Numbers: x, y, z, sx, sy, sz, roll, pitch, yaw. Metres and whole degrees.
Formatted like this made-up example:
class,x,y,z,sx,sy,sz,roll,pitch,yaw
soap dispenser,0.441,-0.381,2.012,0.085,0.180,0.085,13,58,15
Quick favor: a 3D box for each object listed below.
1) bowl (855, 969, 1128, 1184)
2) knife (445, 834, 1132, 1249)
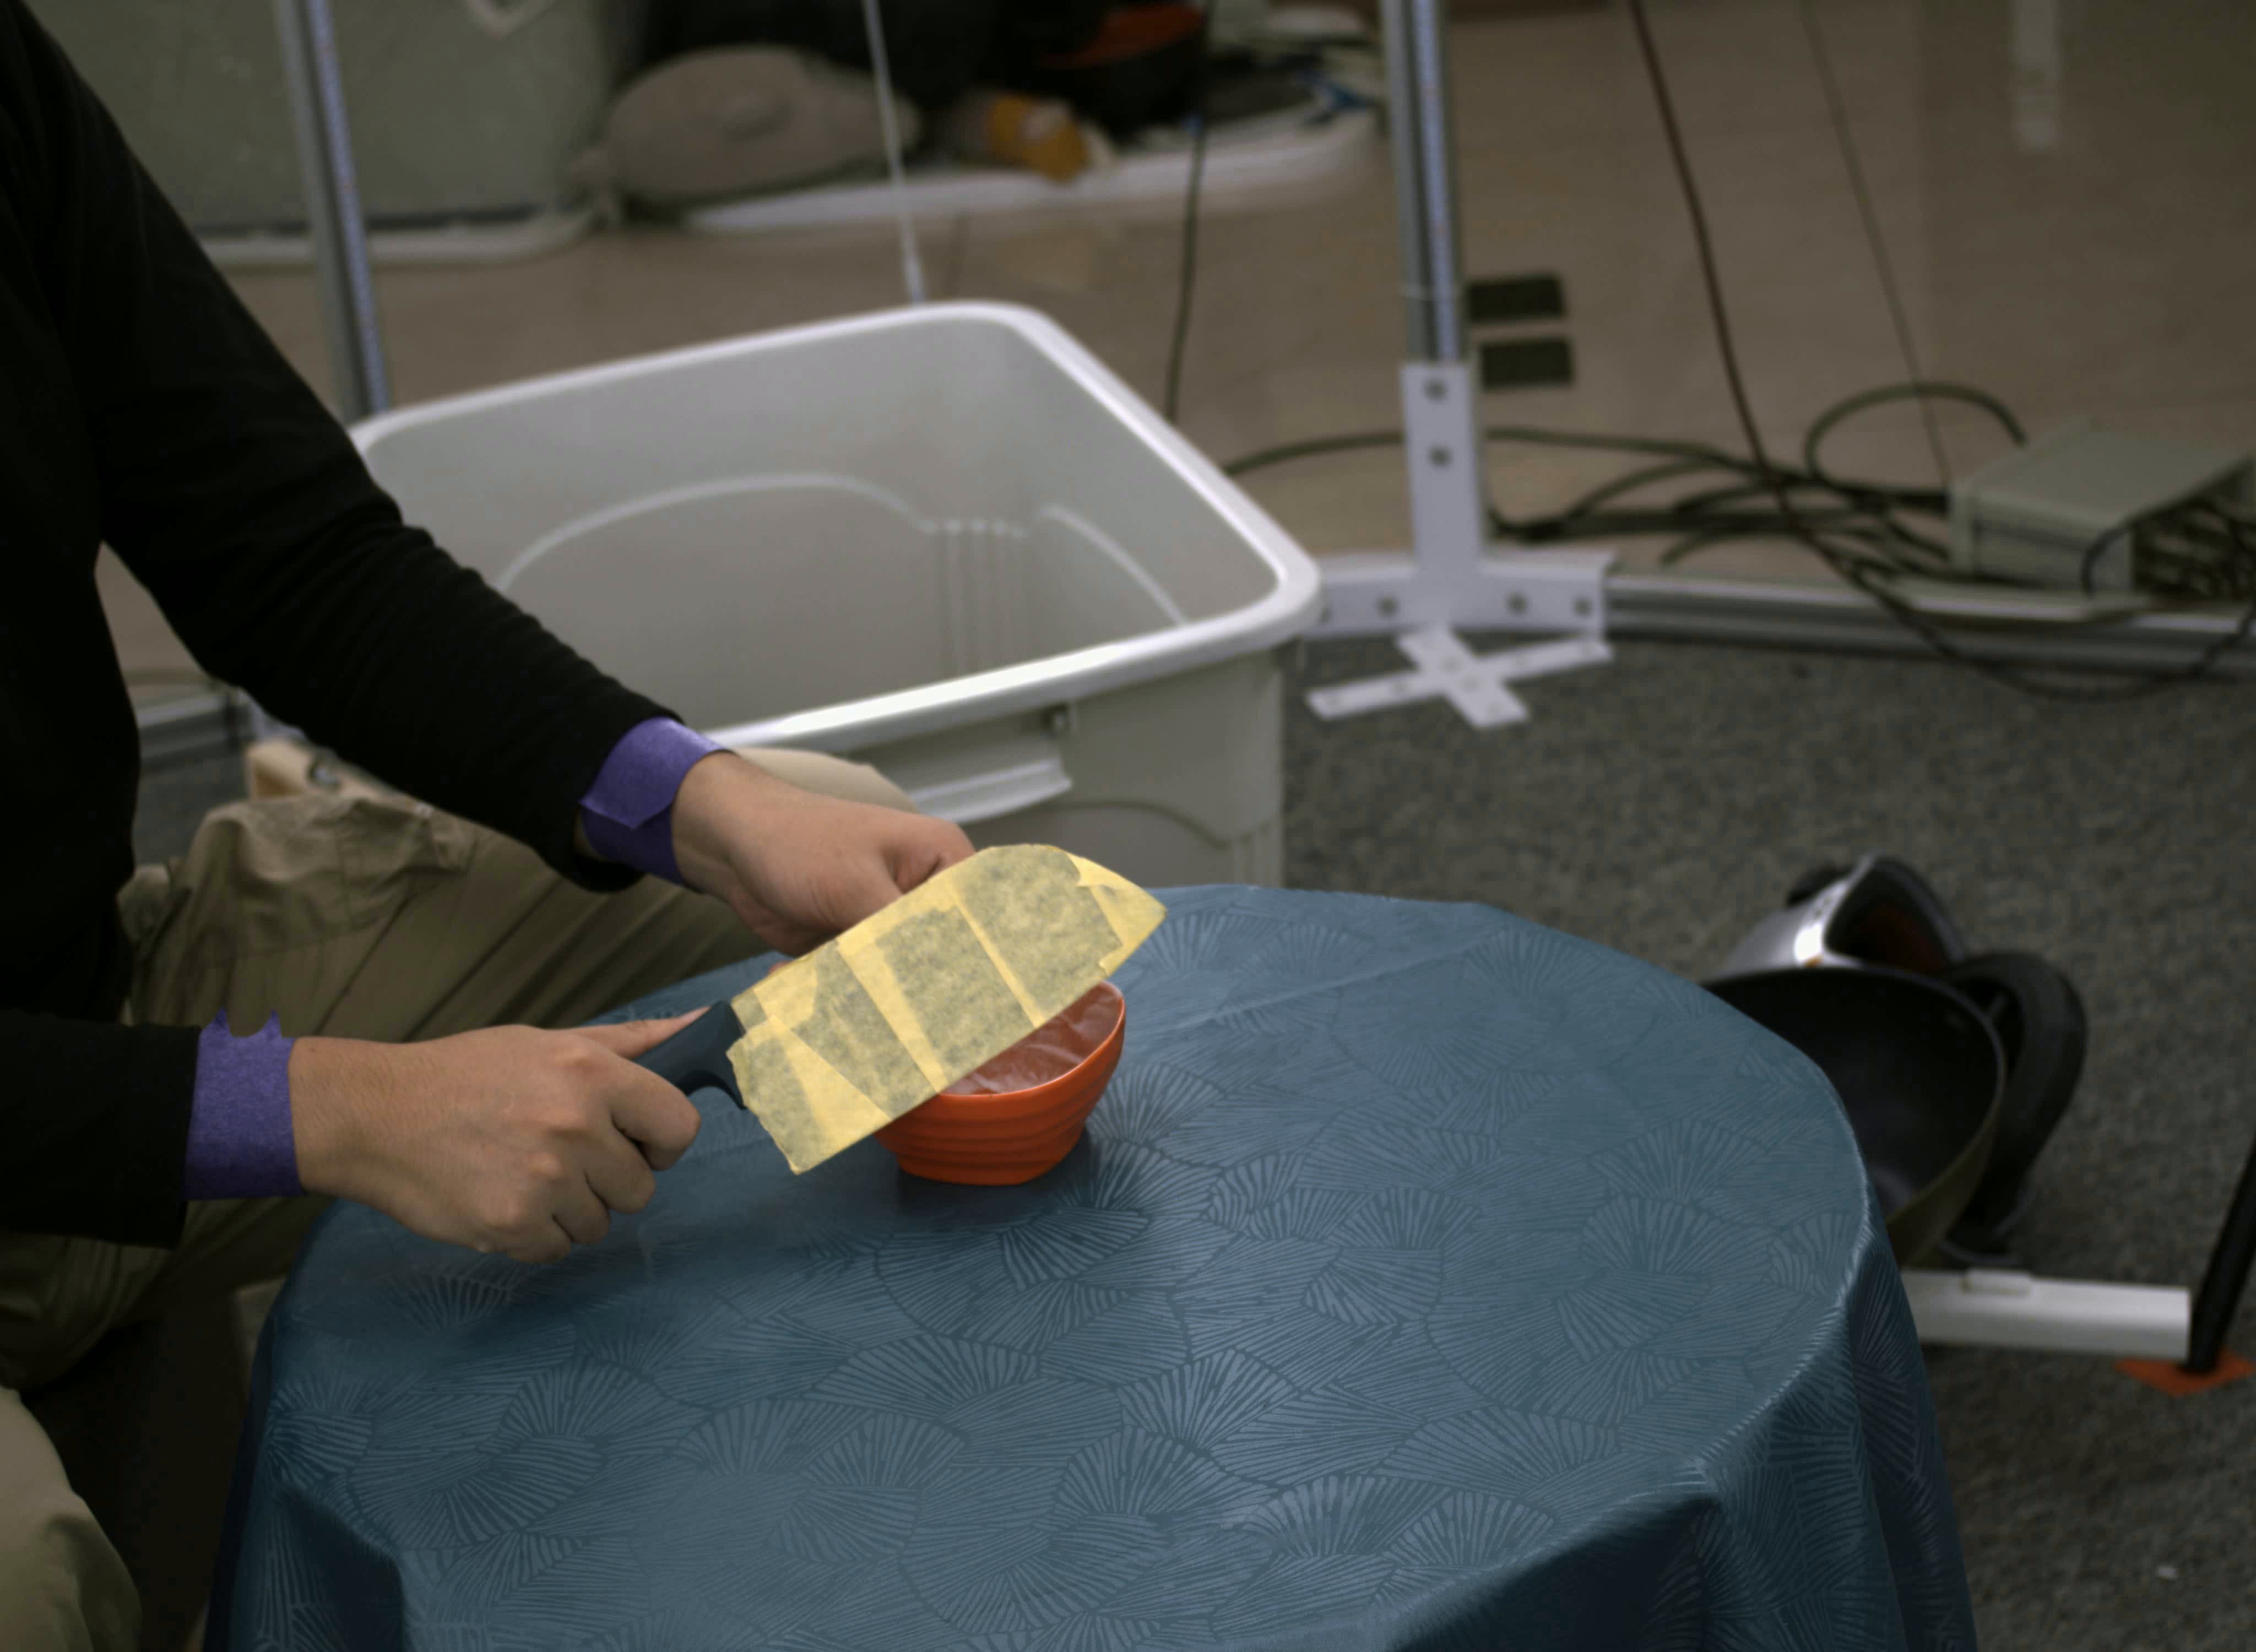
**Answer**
class,x,y,z,sx,sy,sz,roll,pitch,yaw
bowl,-0.055,0.099,2.185,0.119,0.052,0.117,-5,27,3
knife,-0.125,0.088,2.137,0.289,0.027,0.080,-30,73,-4
